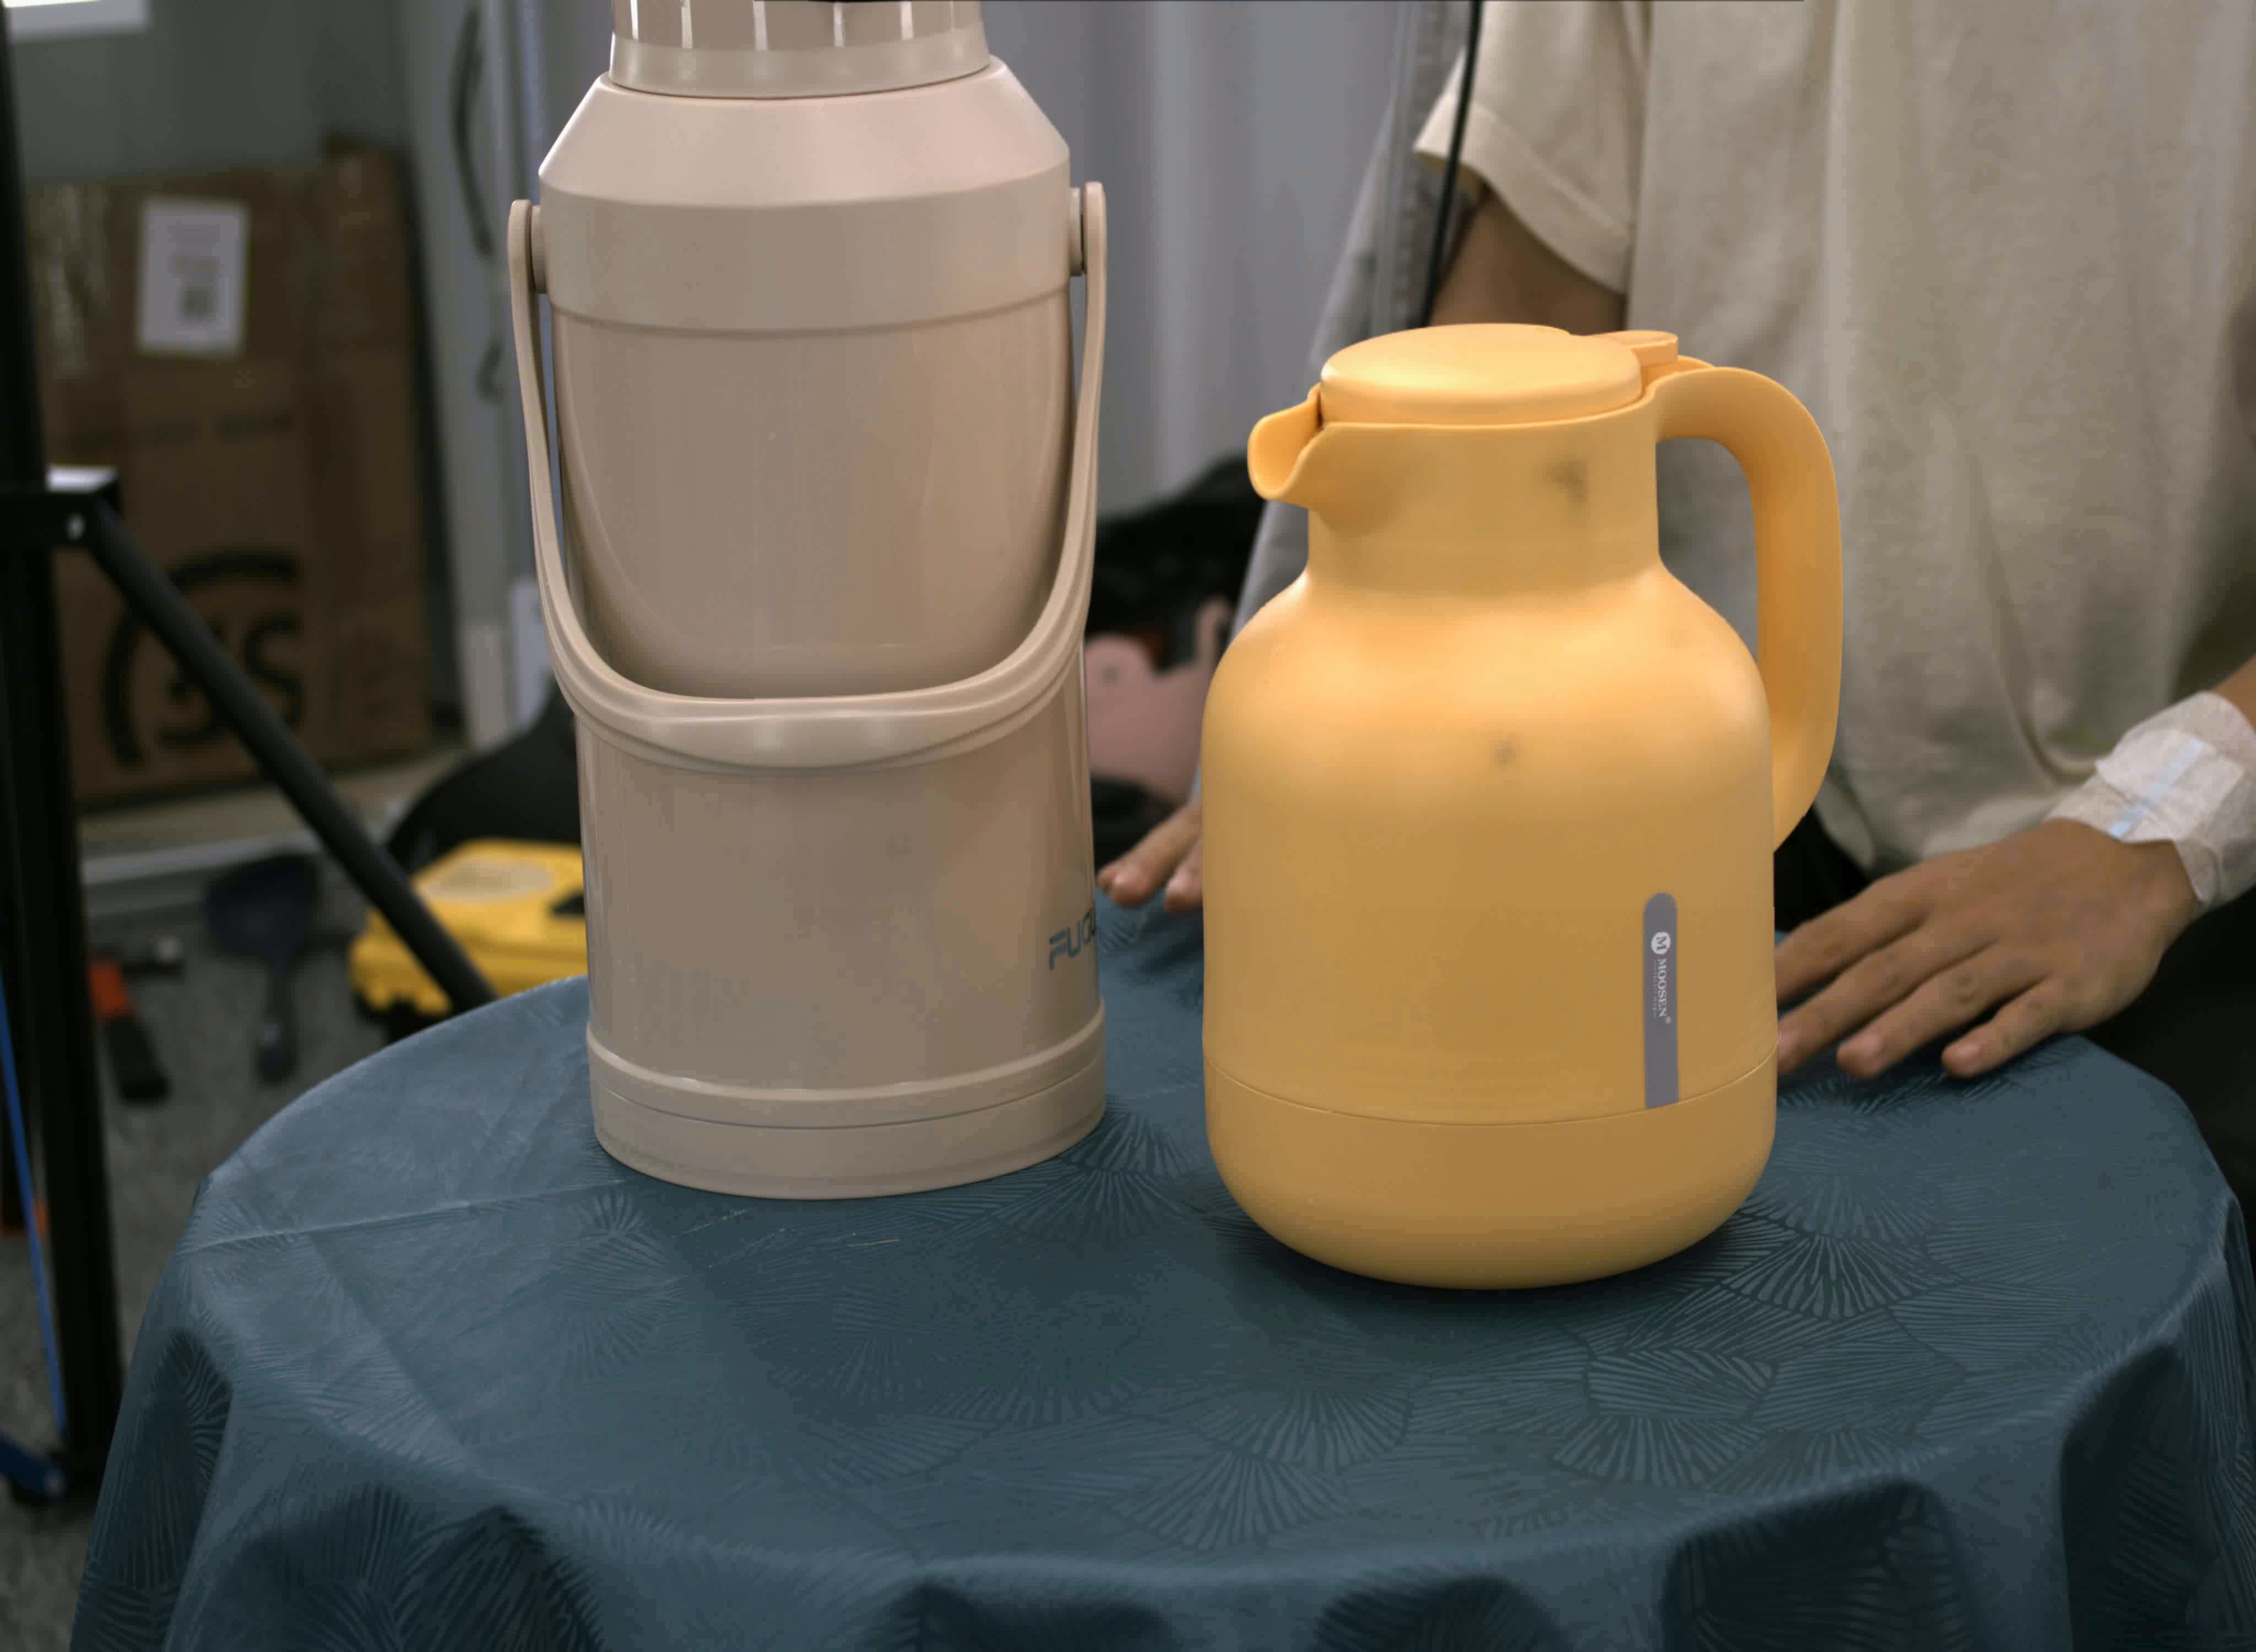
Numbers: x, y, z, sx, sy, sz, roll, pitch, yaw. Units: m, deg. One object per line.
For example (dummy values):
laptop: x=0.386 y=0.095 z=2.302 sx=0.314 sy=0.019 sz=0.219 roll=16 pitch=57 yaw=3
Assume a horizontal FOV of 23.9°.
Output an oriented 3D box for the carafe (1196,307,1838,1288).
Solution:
carafe: x=0.117 y=-0.014 z=1.491 sx=0.198 sy=0.260 sz=0.167 roll=-12 pitch=20 yaw=-29

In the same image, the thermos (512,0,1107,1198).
thermos: x=-0.089 y=-0.107 z=1.603 sx=0.175 sy=0.406 sz=0.207 roll=-2 pitch=15 yaw=2
